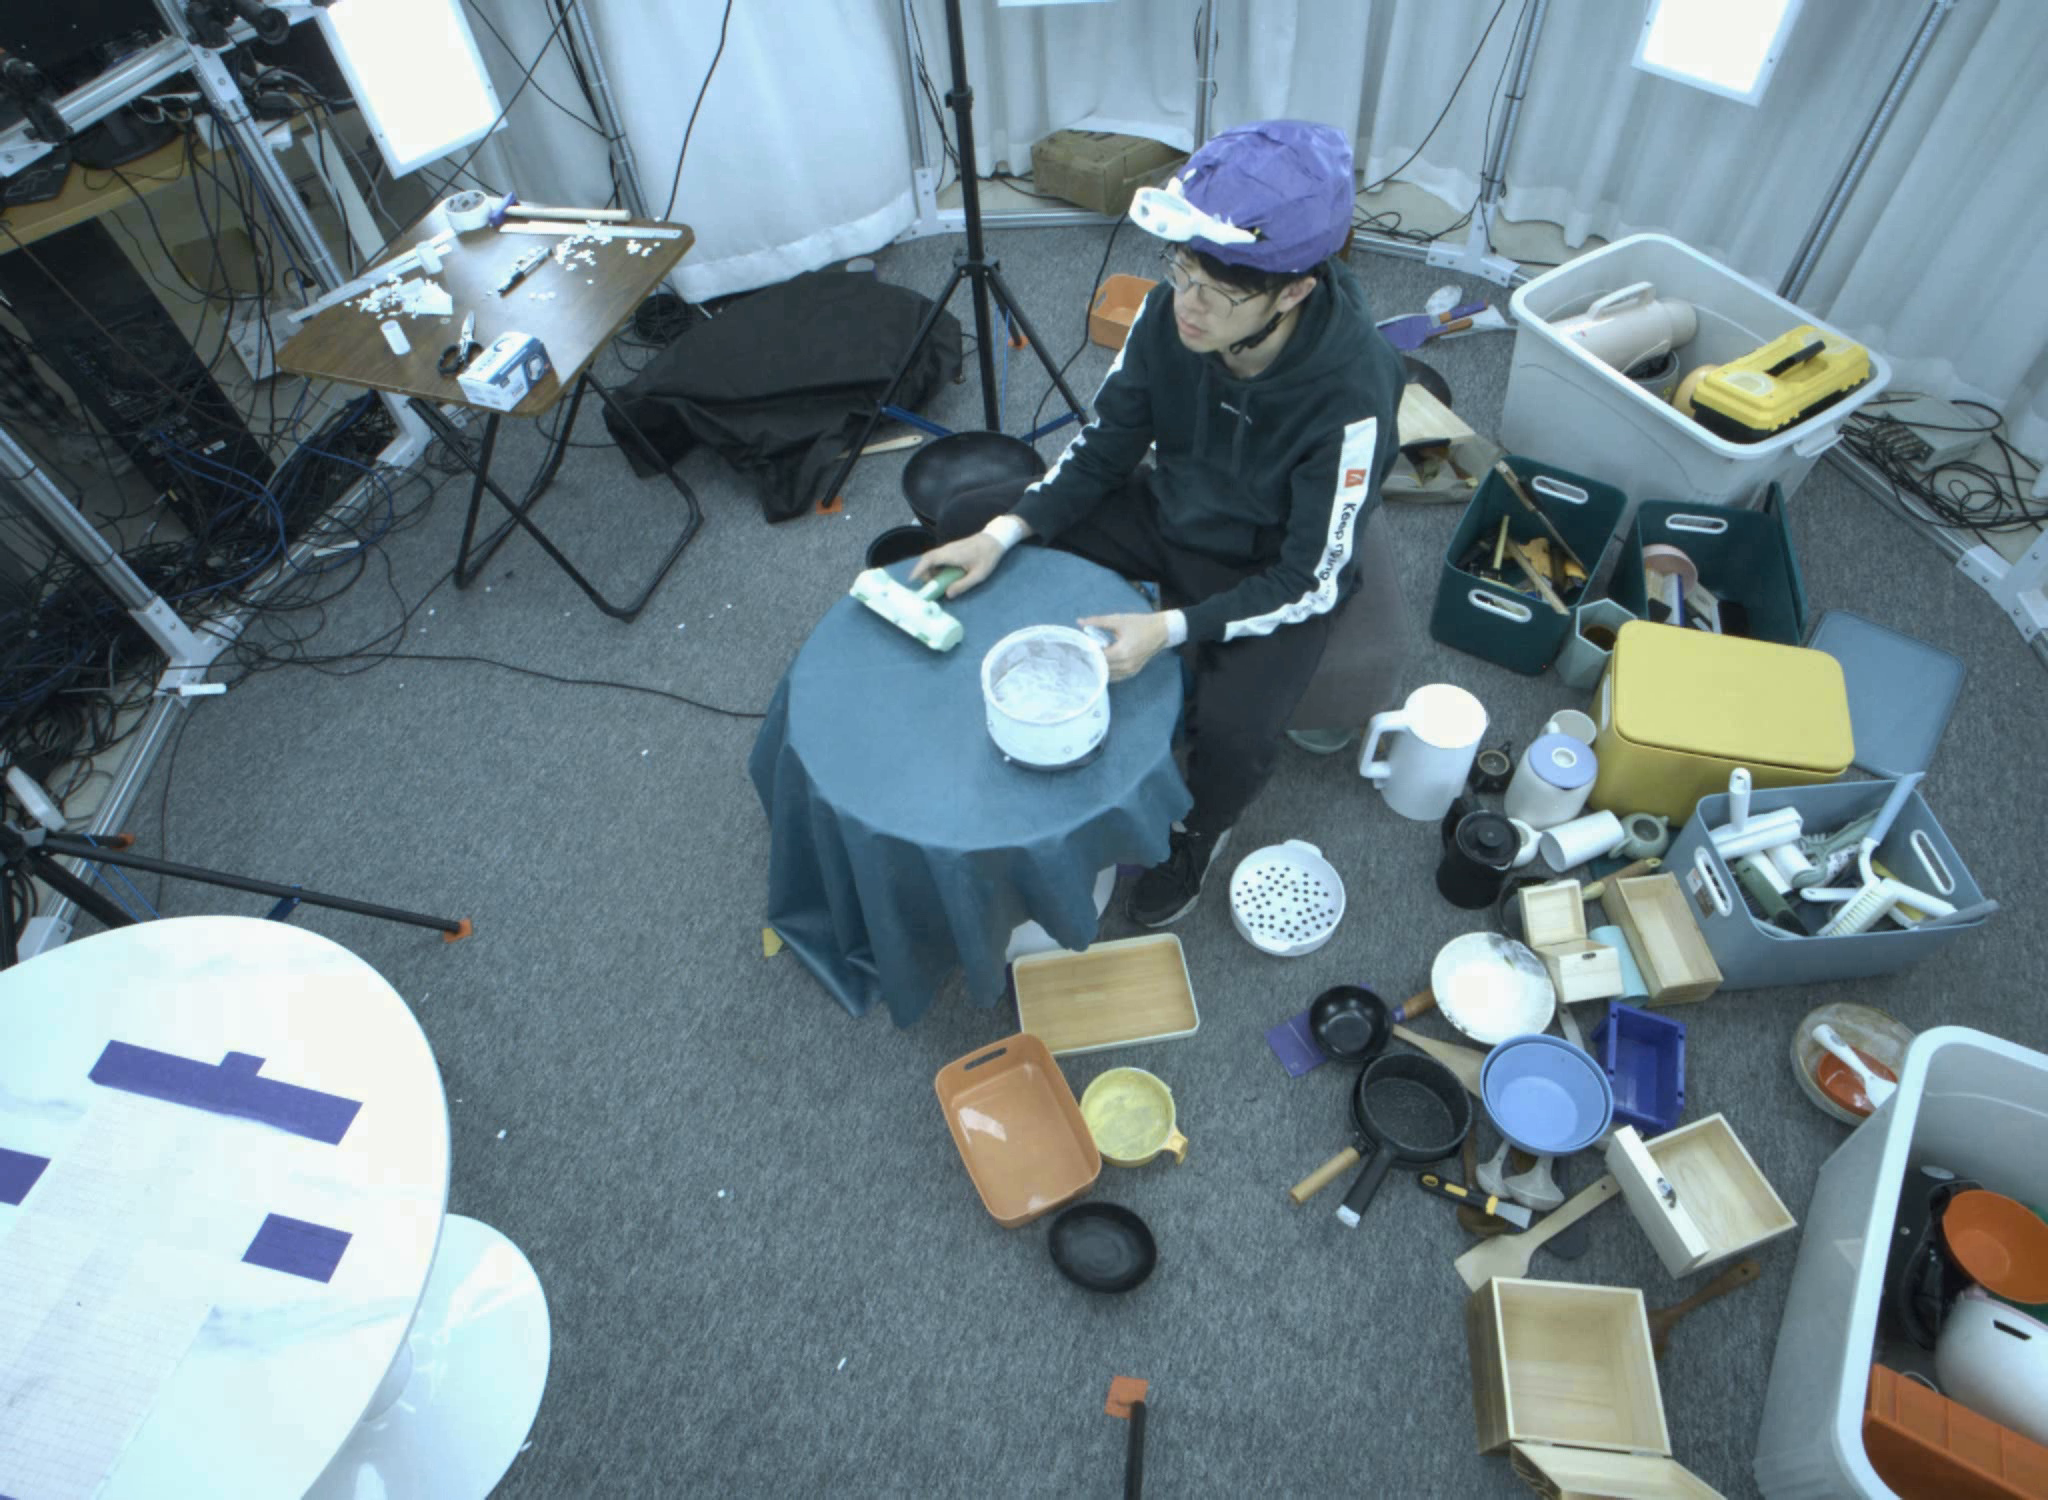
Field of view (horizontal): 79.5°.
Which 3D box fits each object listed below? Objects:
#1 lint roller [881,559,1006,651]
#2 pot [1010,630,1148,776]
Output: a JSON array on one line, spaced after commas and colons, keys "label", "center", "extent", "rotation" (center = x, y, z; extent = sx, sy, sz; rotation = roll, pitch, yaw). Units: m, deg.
[{"label": "lint roller", "center": [-0.098, -0.261, 1.925], "extent": [0.195, 0.083, 0.184], "rotation": [36, 68, 25]}, {"label": "pot", "center": [0.092, -0.079, 1.752], "extent": [0.175, 0.138, 0.235], "rotation": [34, 63, 24]}]
